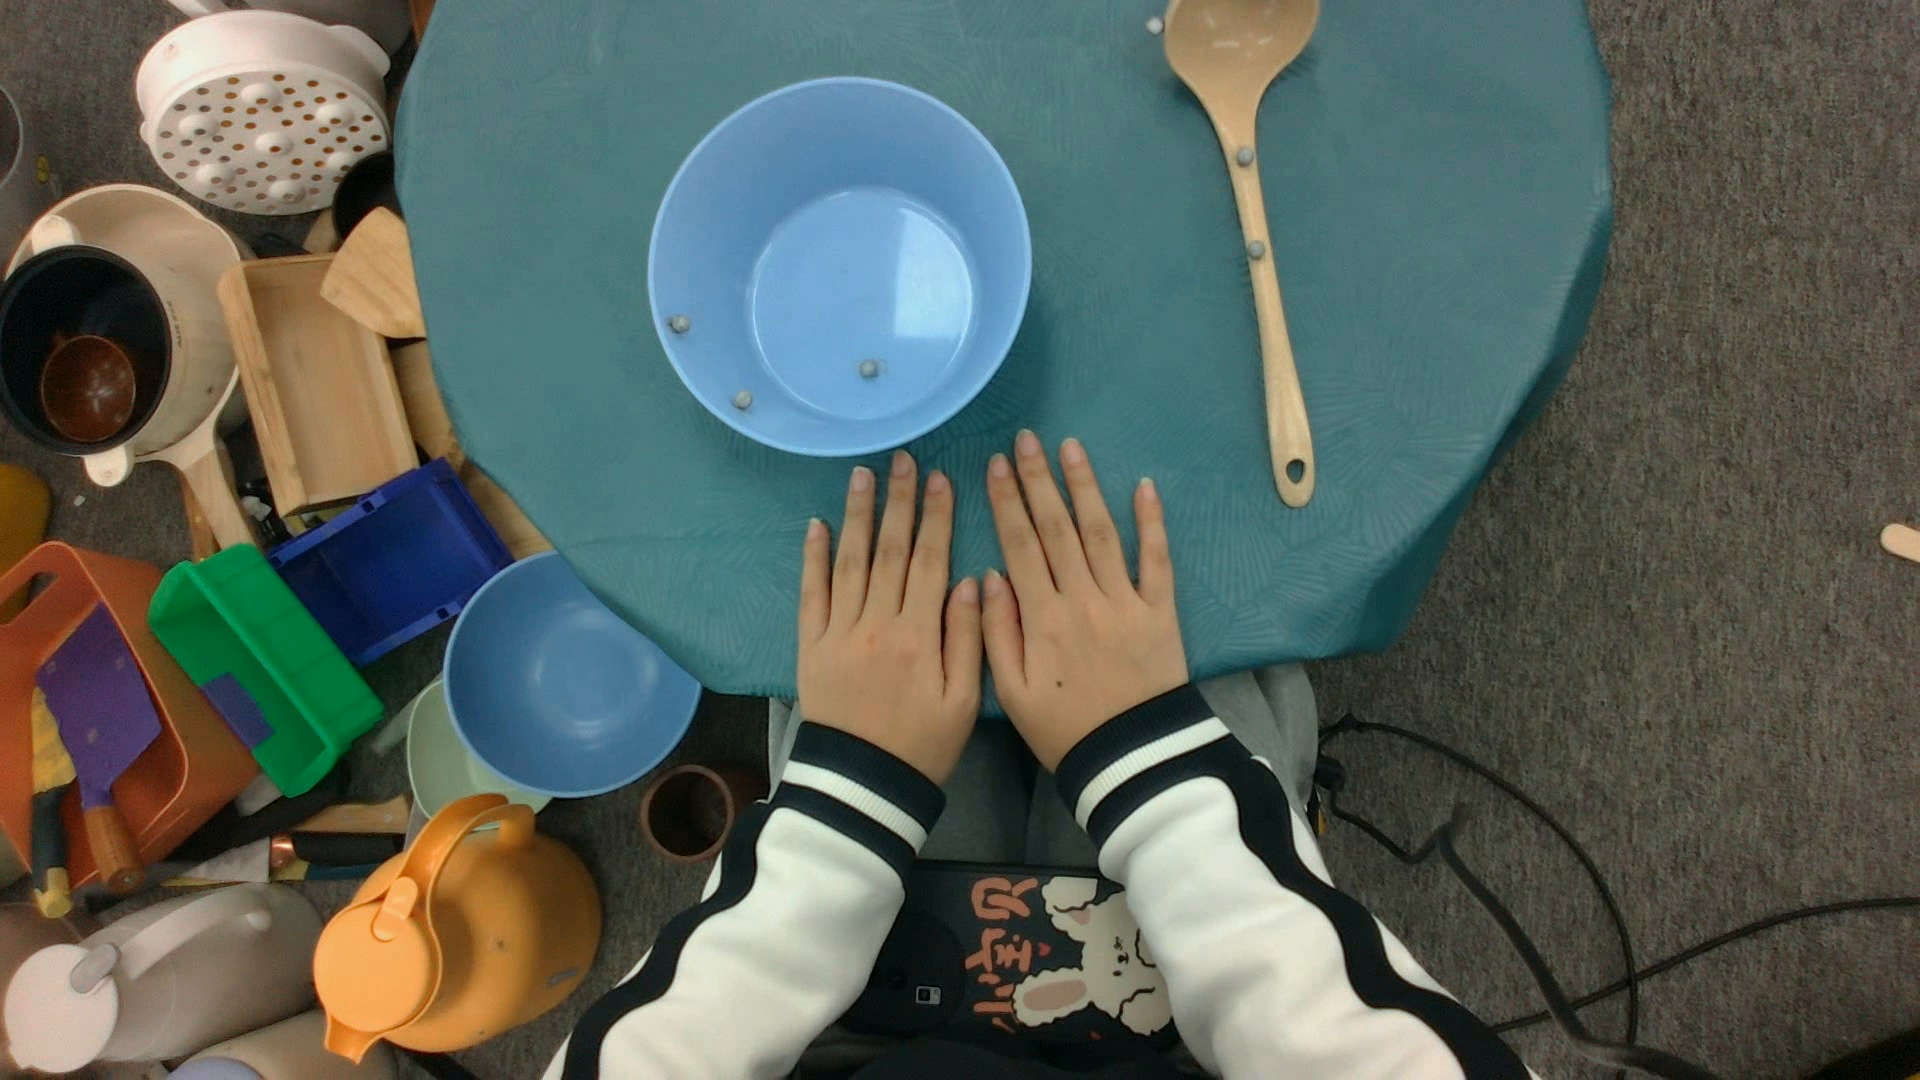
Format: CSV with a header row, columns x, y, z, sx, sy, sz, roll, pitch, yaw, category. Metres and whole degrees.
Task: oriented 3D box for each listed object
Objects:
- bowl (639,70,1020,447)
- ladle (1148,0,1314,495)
x,y,z,sx,sy,sz,roll,pitch,yaw,category
-0.056,-0.125,0.652,0.176,0.070,0.176,-1,82,7,bowl
0.141,-0.150,0.633,0.072,0.072,0.254,-9,82,-6,ladle
